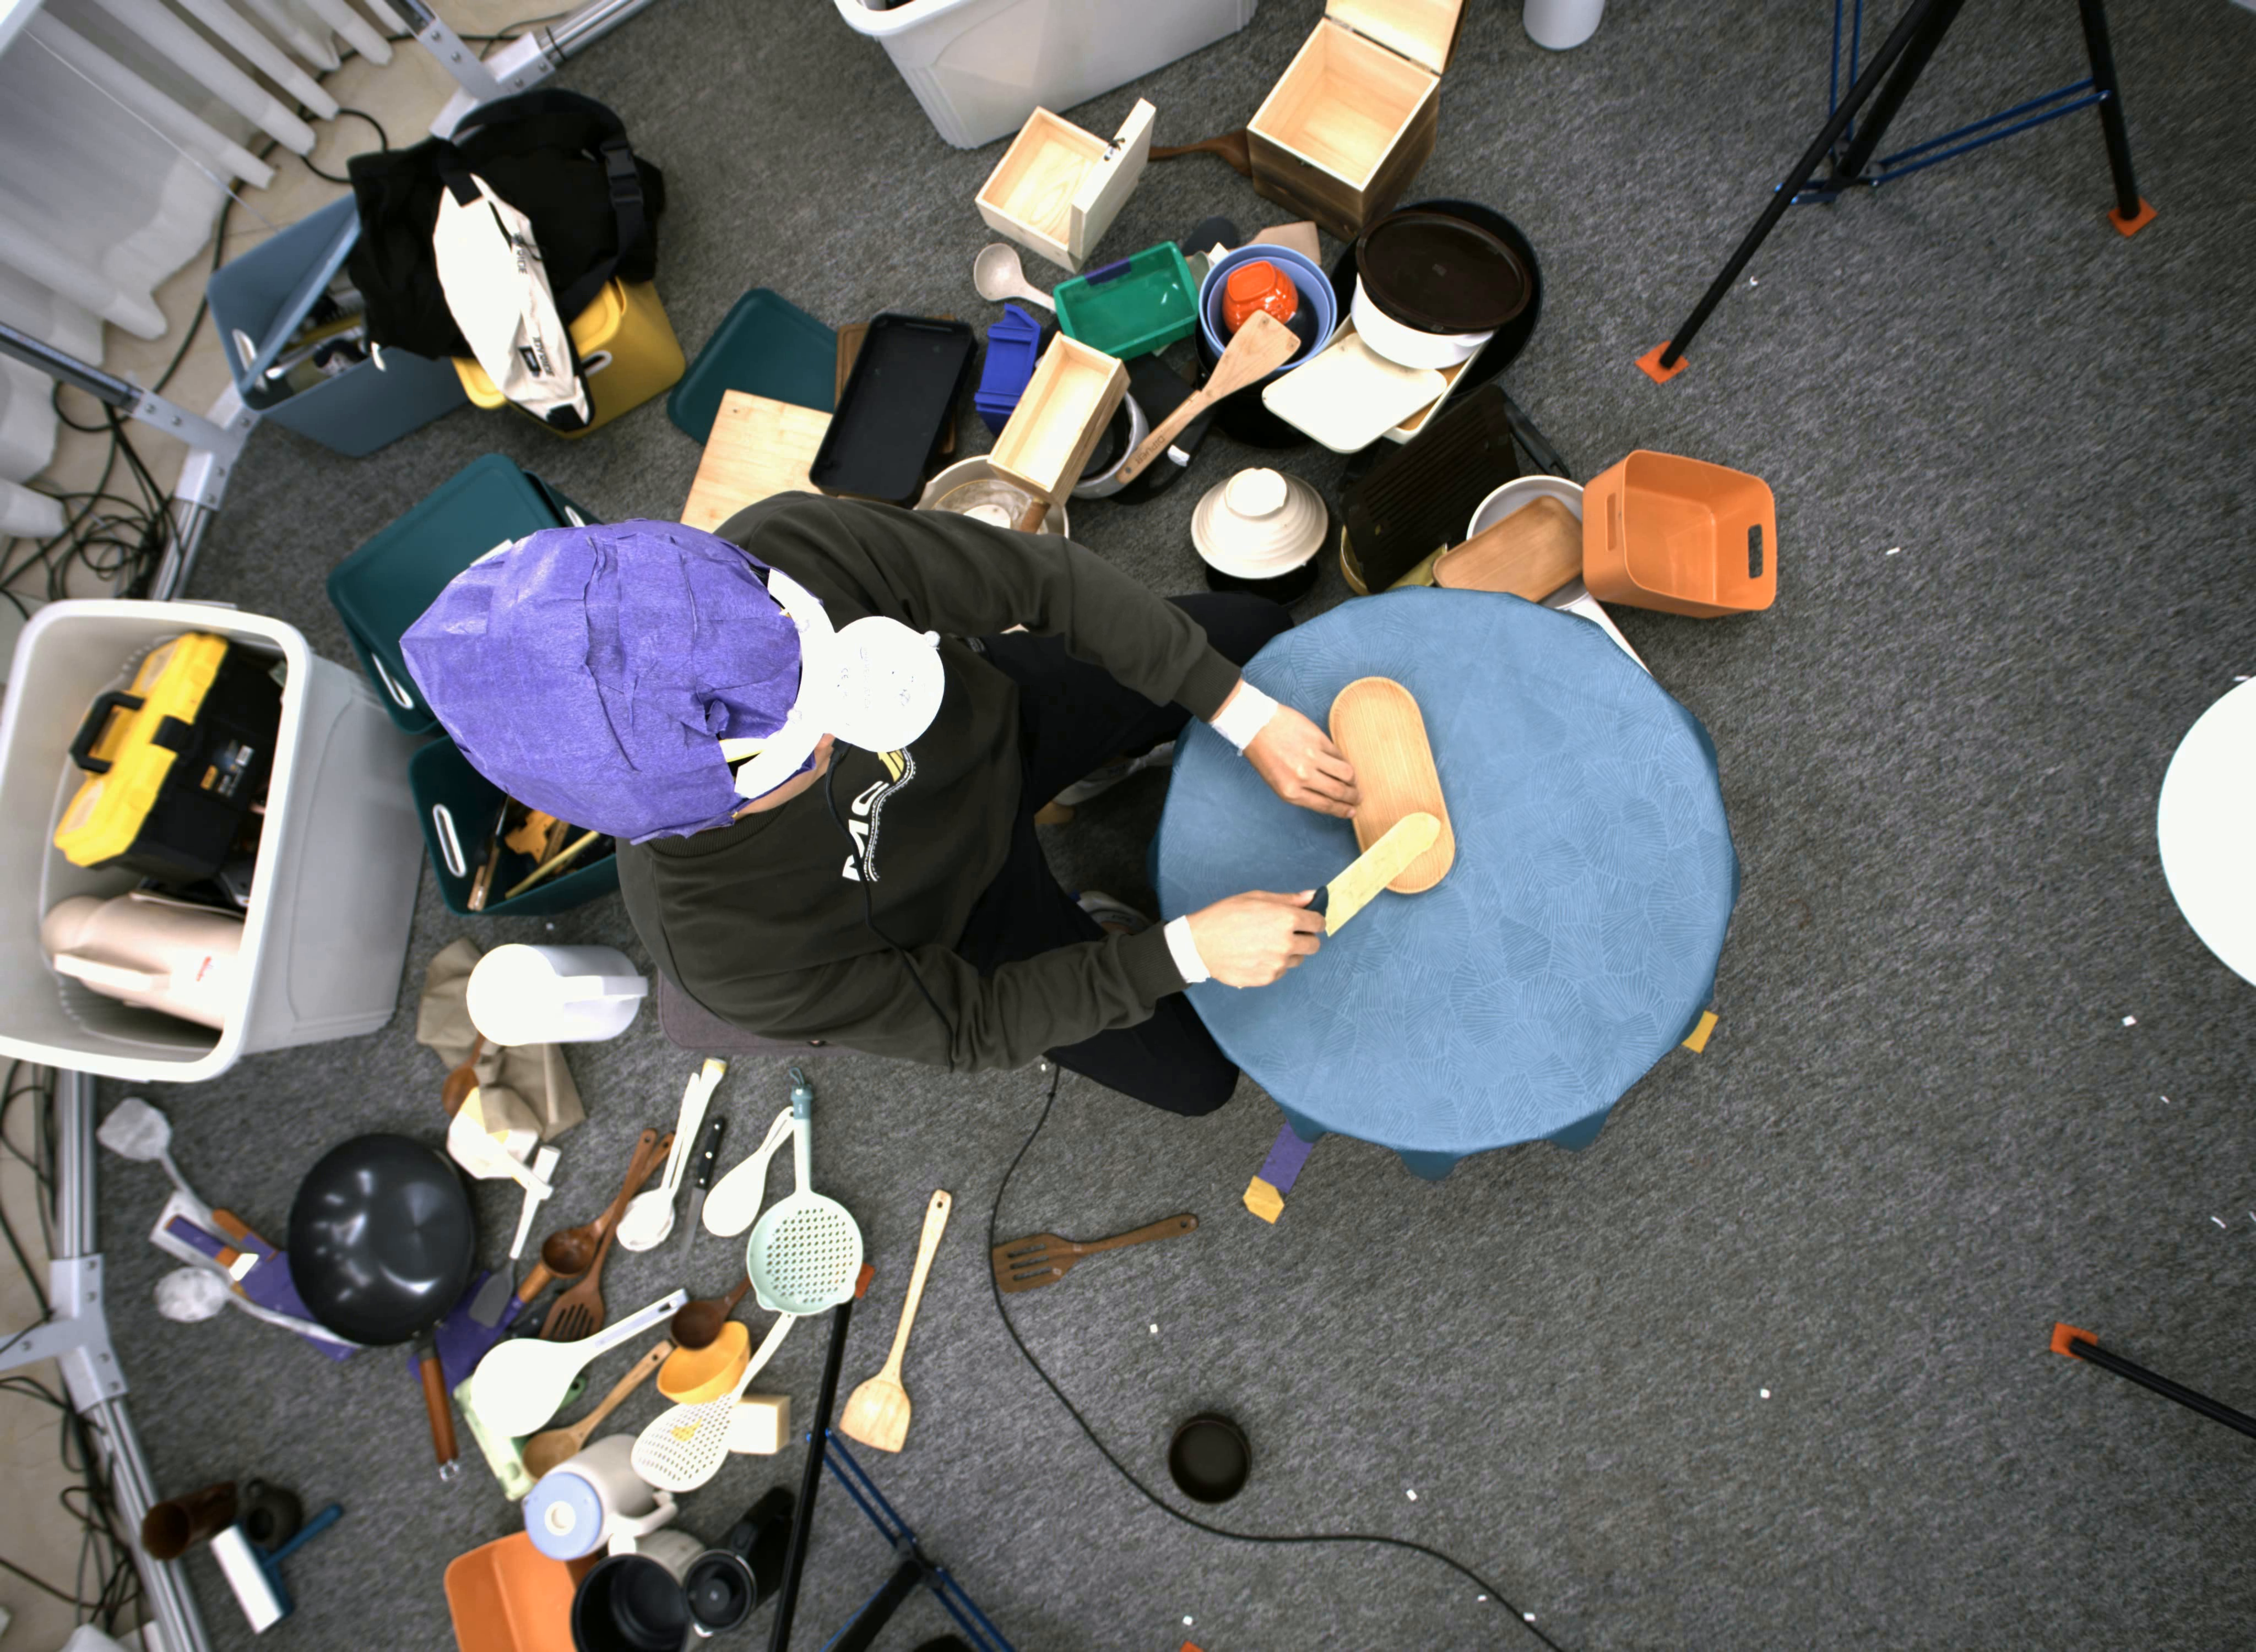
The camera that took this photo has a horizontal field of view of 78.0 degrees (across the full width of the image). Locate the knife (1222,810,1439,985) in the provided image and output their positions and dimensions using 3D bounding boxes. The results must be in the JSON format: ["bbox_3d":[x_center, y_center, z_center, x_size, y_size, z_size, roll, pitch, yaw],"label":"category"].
[{"bbox_3d":[0.210,0.073,1.390,0.287,0.083,0.027,-36,47,-13],"label":"knife"}]

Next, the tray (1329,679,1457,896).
[{"bbox_3d":[0.276,-0.041,1.440,0.101,0.020,0.231,-15,91,-3],"label":"tray"}]
